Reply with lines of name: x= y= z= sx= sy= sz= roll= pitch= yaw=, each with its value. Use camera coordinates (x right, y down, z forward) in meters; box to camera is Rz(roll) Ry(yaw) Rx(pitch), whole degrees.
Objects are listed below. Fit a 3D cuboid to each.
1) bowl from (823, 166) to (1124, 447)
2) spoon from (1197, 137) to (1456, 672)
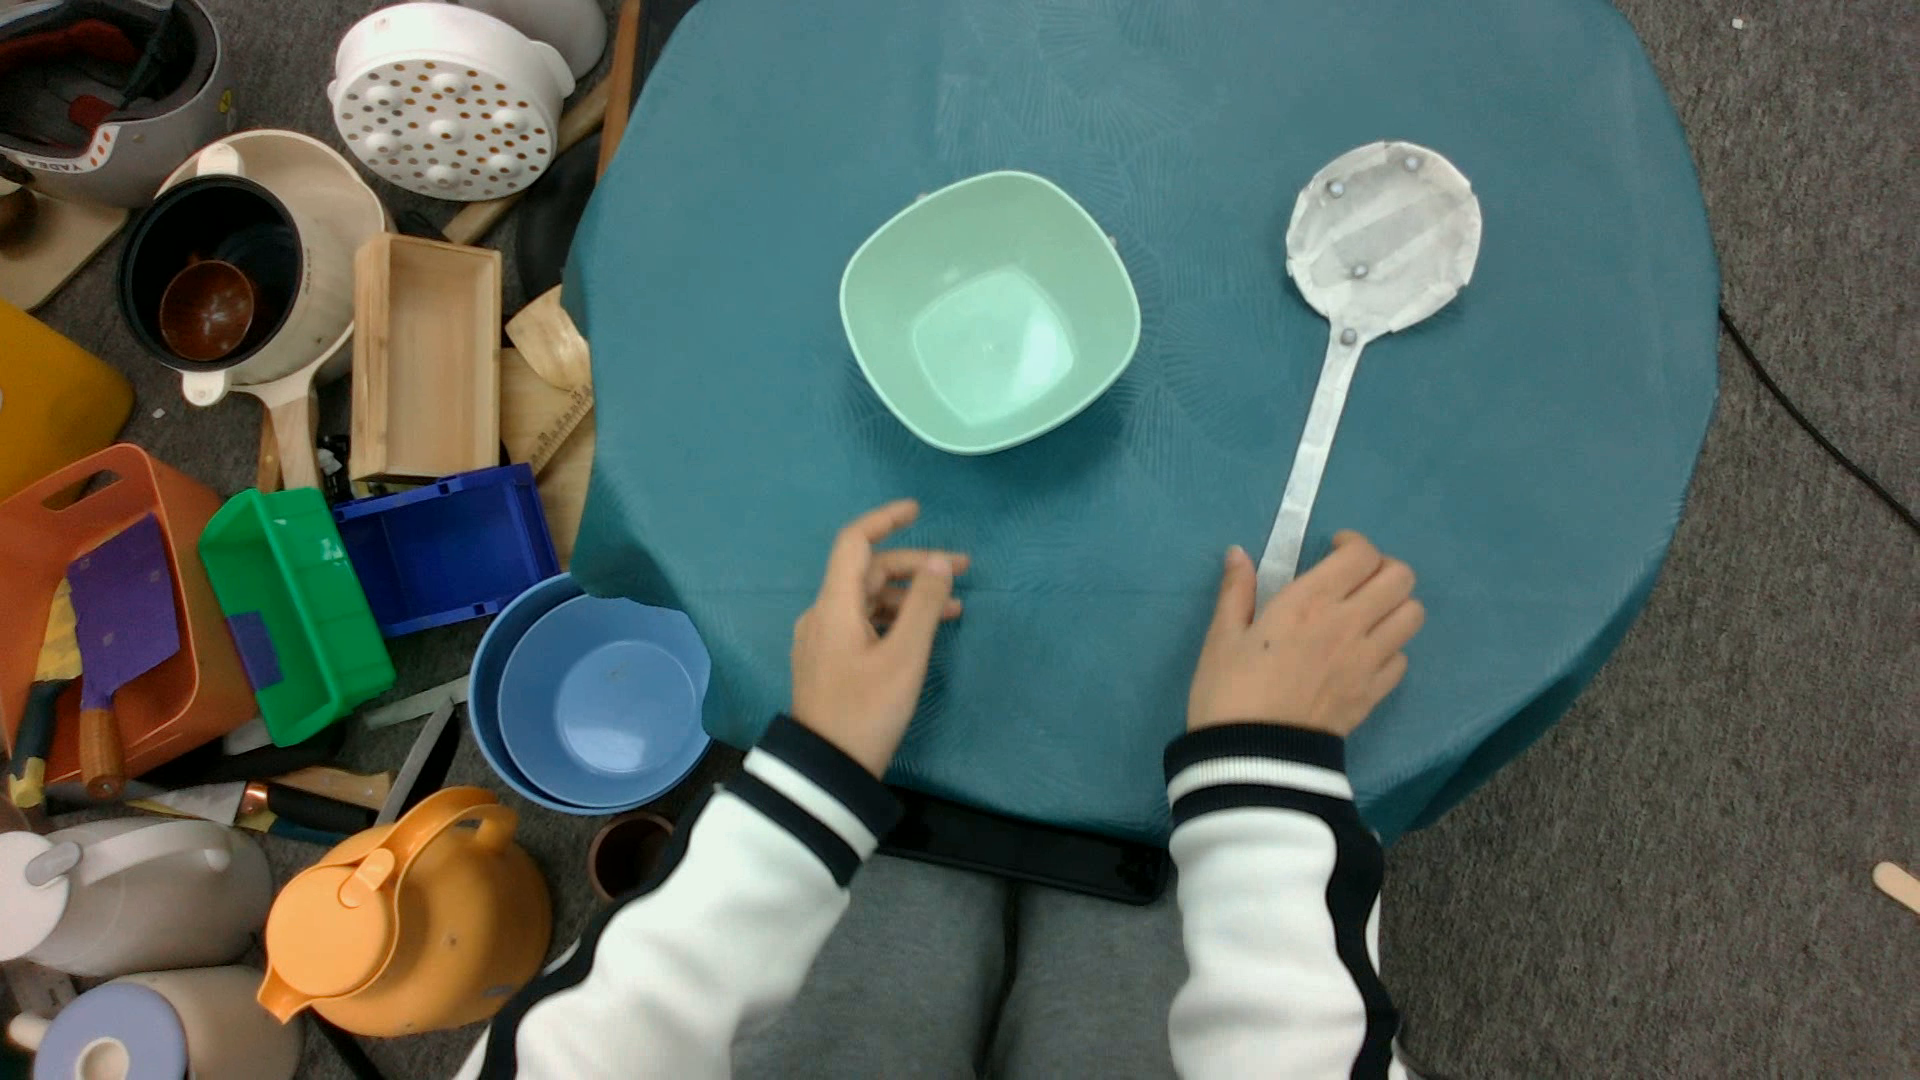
bowl: x=0.008 y=-0.111 z=0.706 sx=0.151 sy=0.058 sz=0.152 roll=-1 pitch=75 yaw=3
spoon: x=0.165 y=-0.069 z=0.685 sx=0.100 sy=0.059 sz=0.278 roll=19 pitch=77 yaw=13
